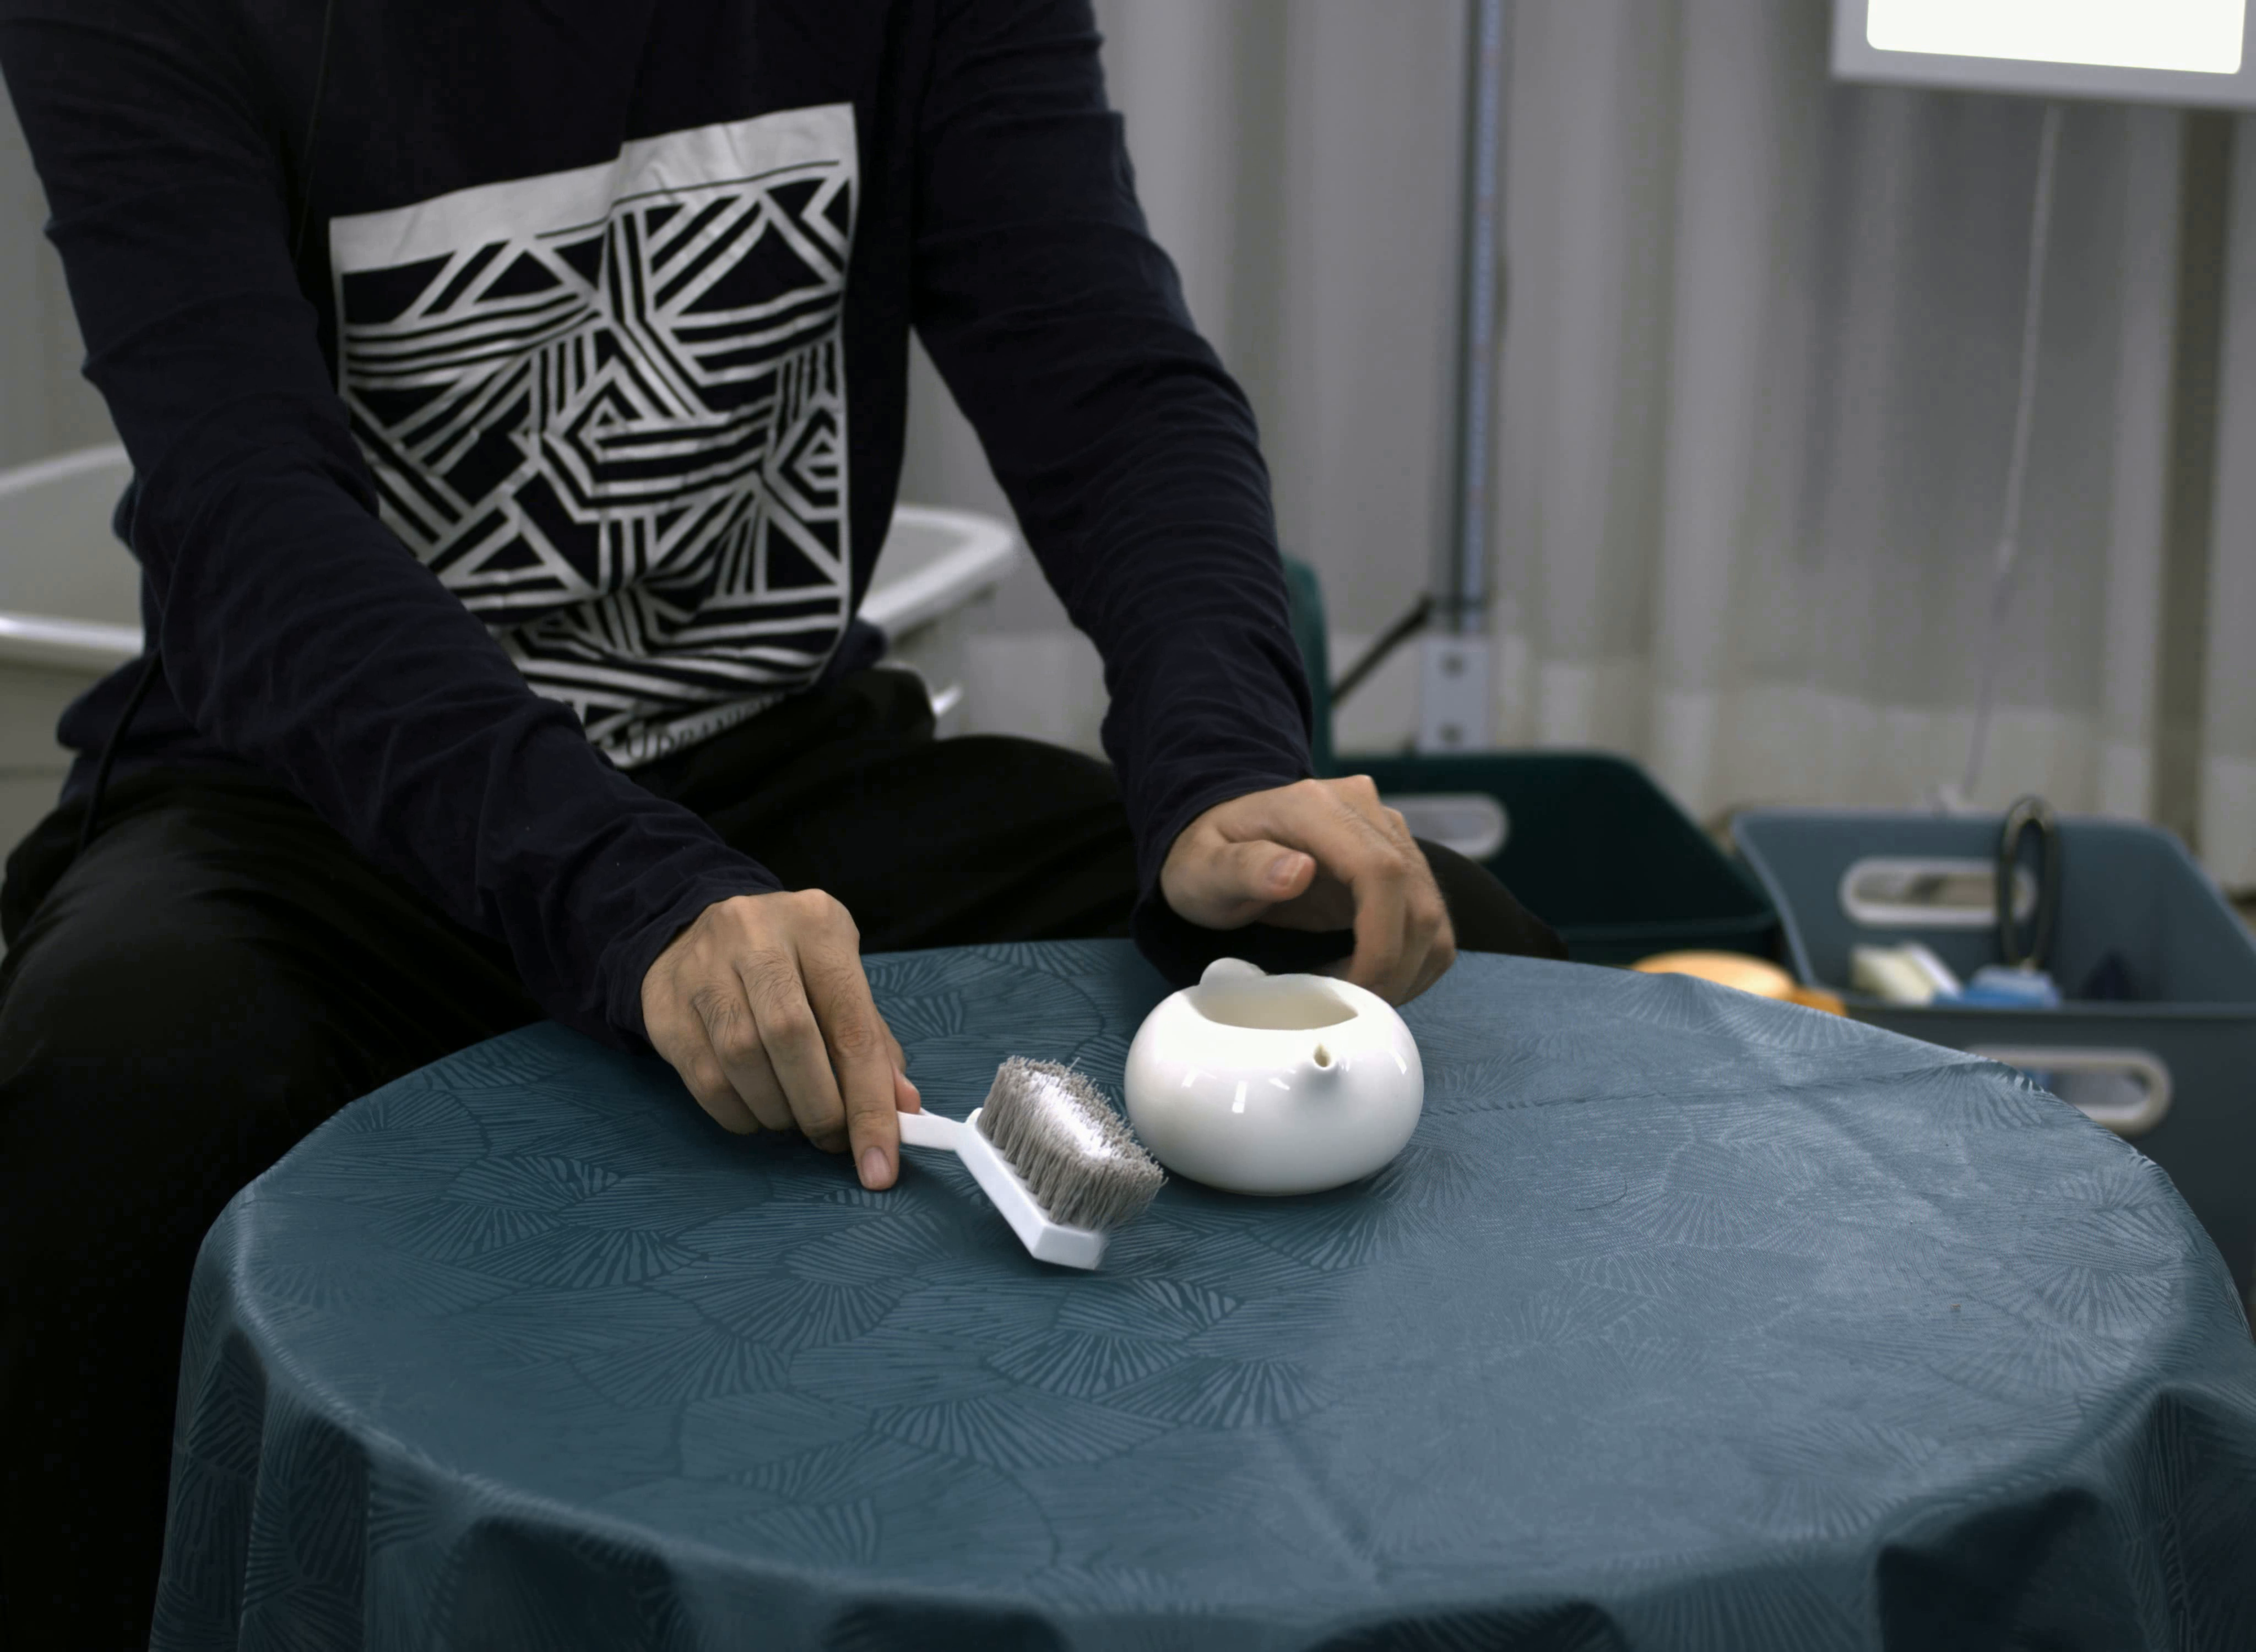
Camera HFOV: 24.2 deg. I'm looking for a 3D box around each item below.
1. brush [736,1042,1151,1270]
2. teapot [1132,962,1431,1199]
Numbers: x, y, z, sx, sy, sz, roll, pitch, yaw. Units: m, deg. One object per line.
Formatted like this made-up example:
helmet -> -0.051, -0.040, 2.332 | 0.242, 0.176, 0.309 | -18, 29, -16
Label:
brush -> -0.063, 0.083, 1.641 | 0.034, 0.050, 0.240 | 3, 12, -30
teapot -> 0.044, 0.079, 1.651 | 0.093, 0.057, 0.126 | -11, 16, -19
